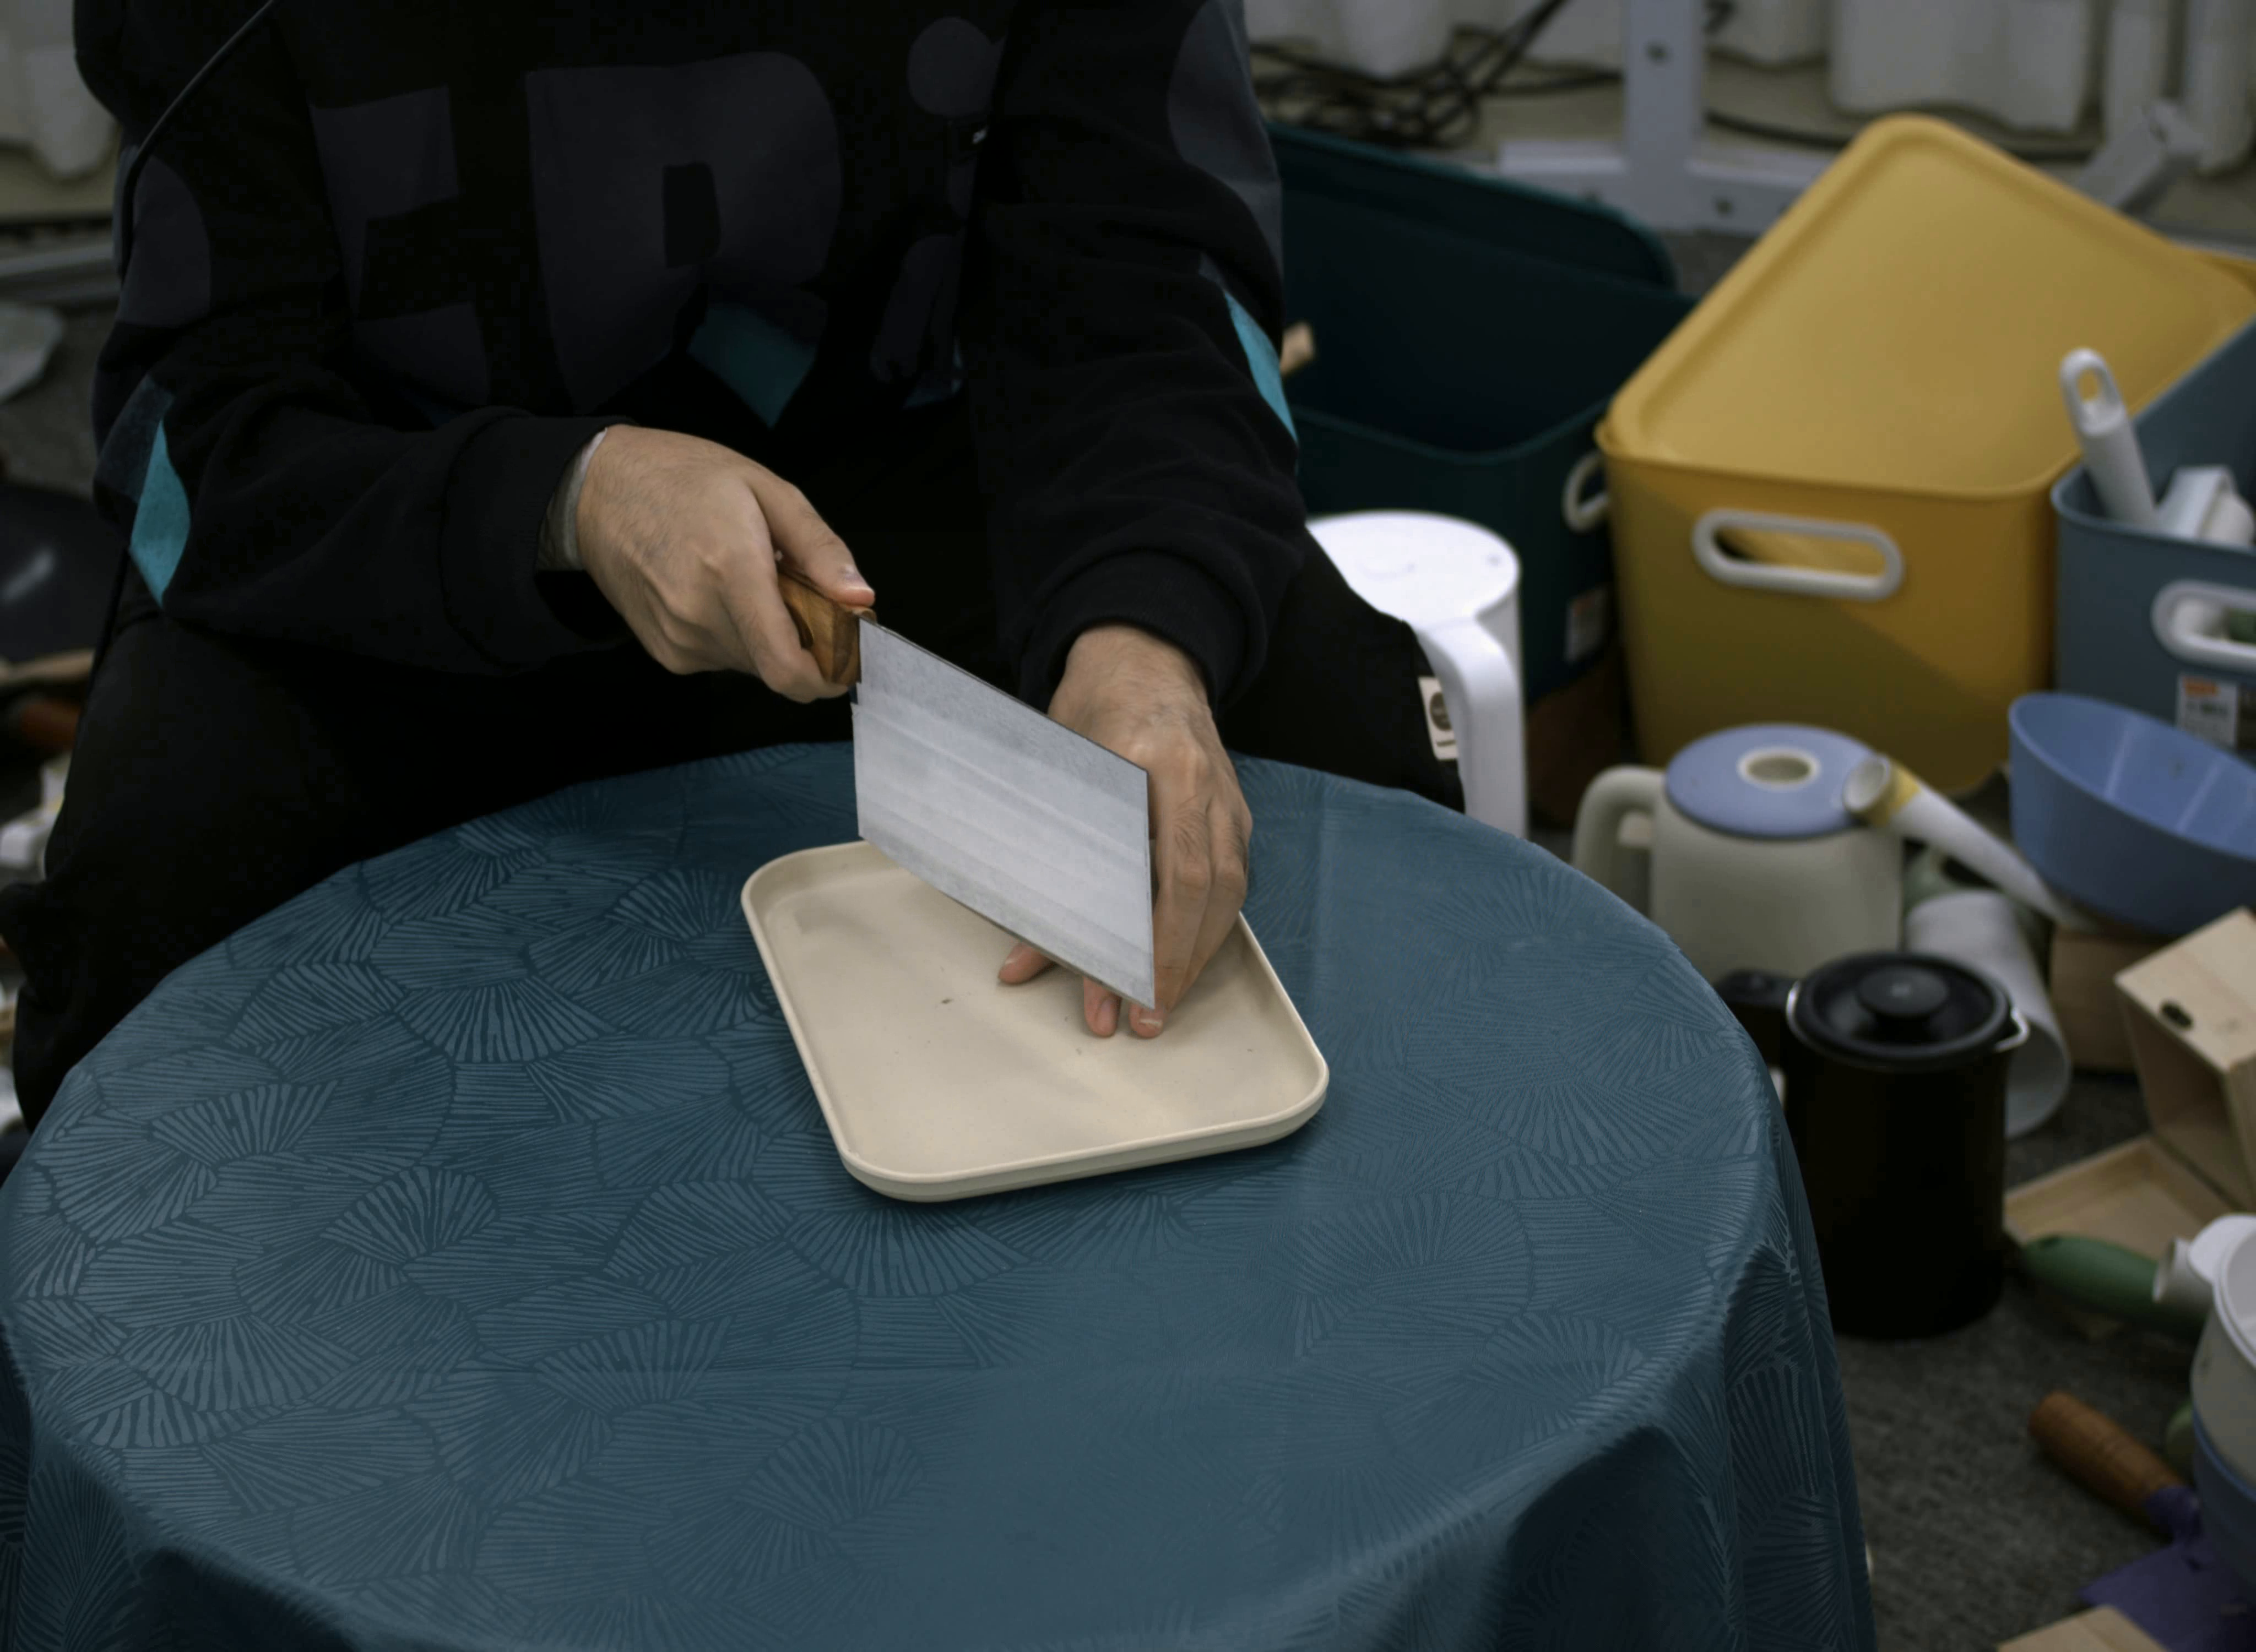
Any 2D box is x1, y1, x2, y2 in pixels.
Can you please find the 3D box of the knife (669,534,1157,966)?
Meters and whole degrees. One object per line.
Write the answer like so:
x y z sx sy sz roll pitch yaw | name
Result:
-0.077 -0.026 1.976 0.021 0.092 0.306 -16 27 -30 | knife

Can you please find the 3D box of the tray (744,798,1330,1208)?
-0.035 0.060 1.962 0.171 0.017 0.242 -10 29 -10 | tray
